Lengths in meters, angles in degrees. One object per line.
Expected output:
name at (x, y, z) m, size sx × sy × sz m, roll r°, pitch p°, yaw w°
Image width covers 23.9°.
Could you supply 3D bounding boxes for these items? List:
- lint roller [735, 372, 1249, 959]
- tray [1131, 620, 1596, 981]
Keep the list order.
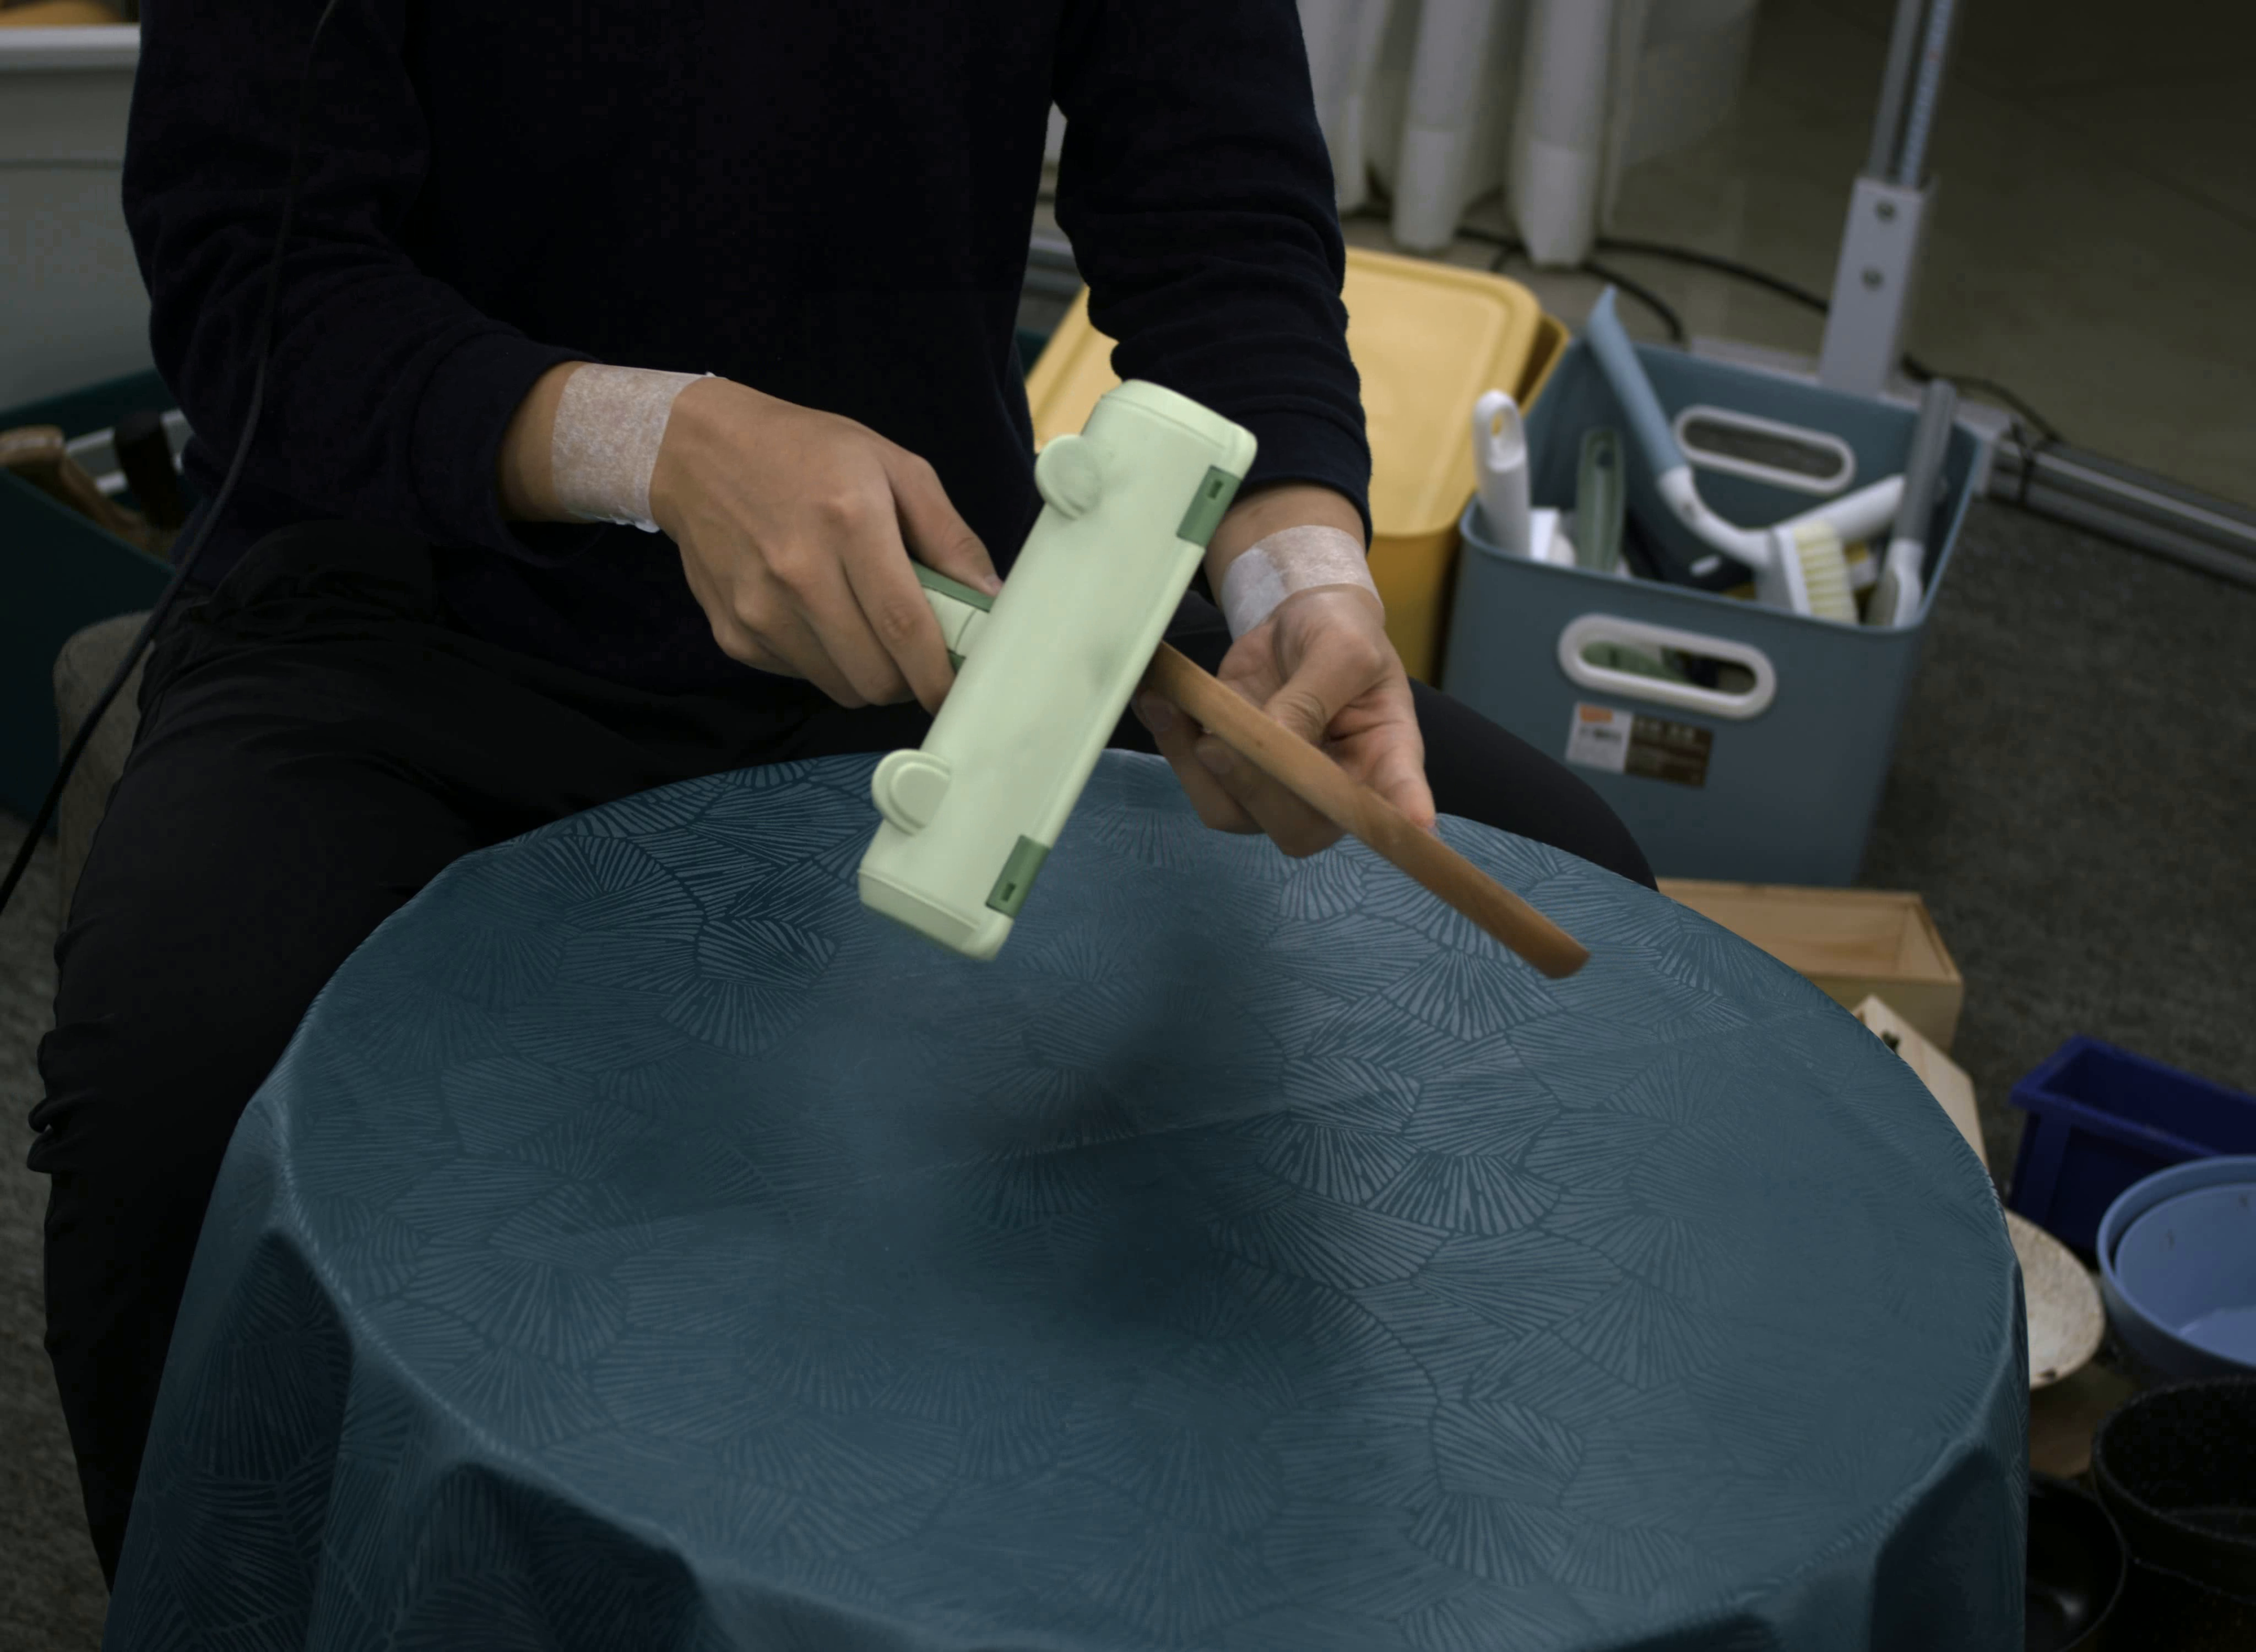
lint roller at (-0.073, -0.074, 1.767) m, size 0.184 × 0.199 × 0.081 m, roll 24°, pitch -7°, yaw 30°
tray at (0.061, -0.018, 1.754) m, size 0.129 × 0.023 × 0.252 m, roll 39°, pitch 0°, yaw -28°
